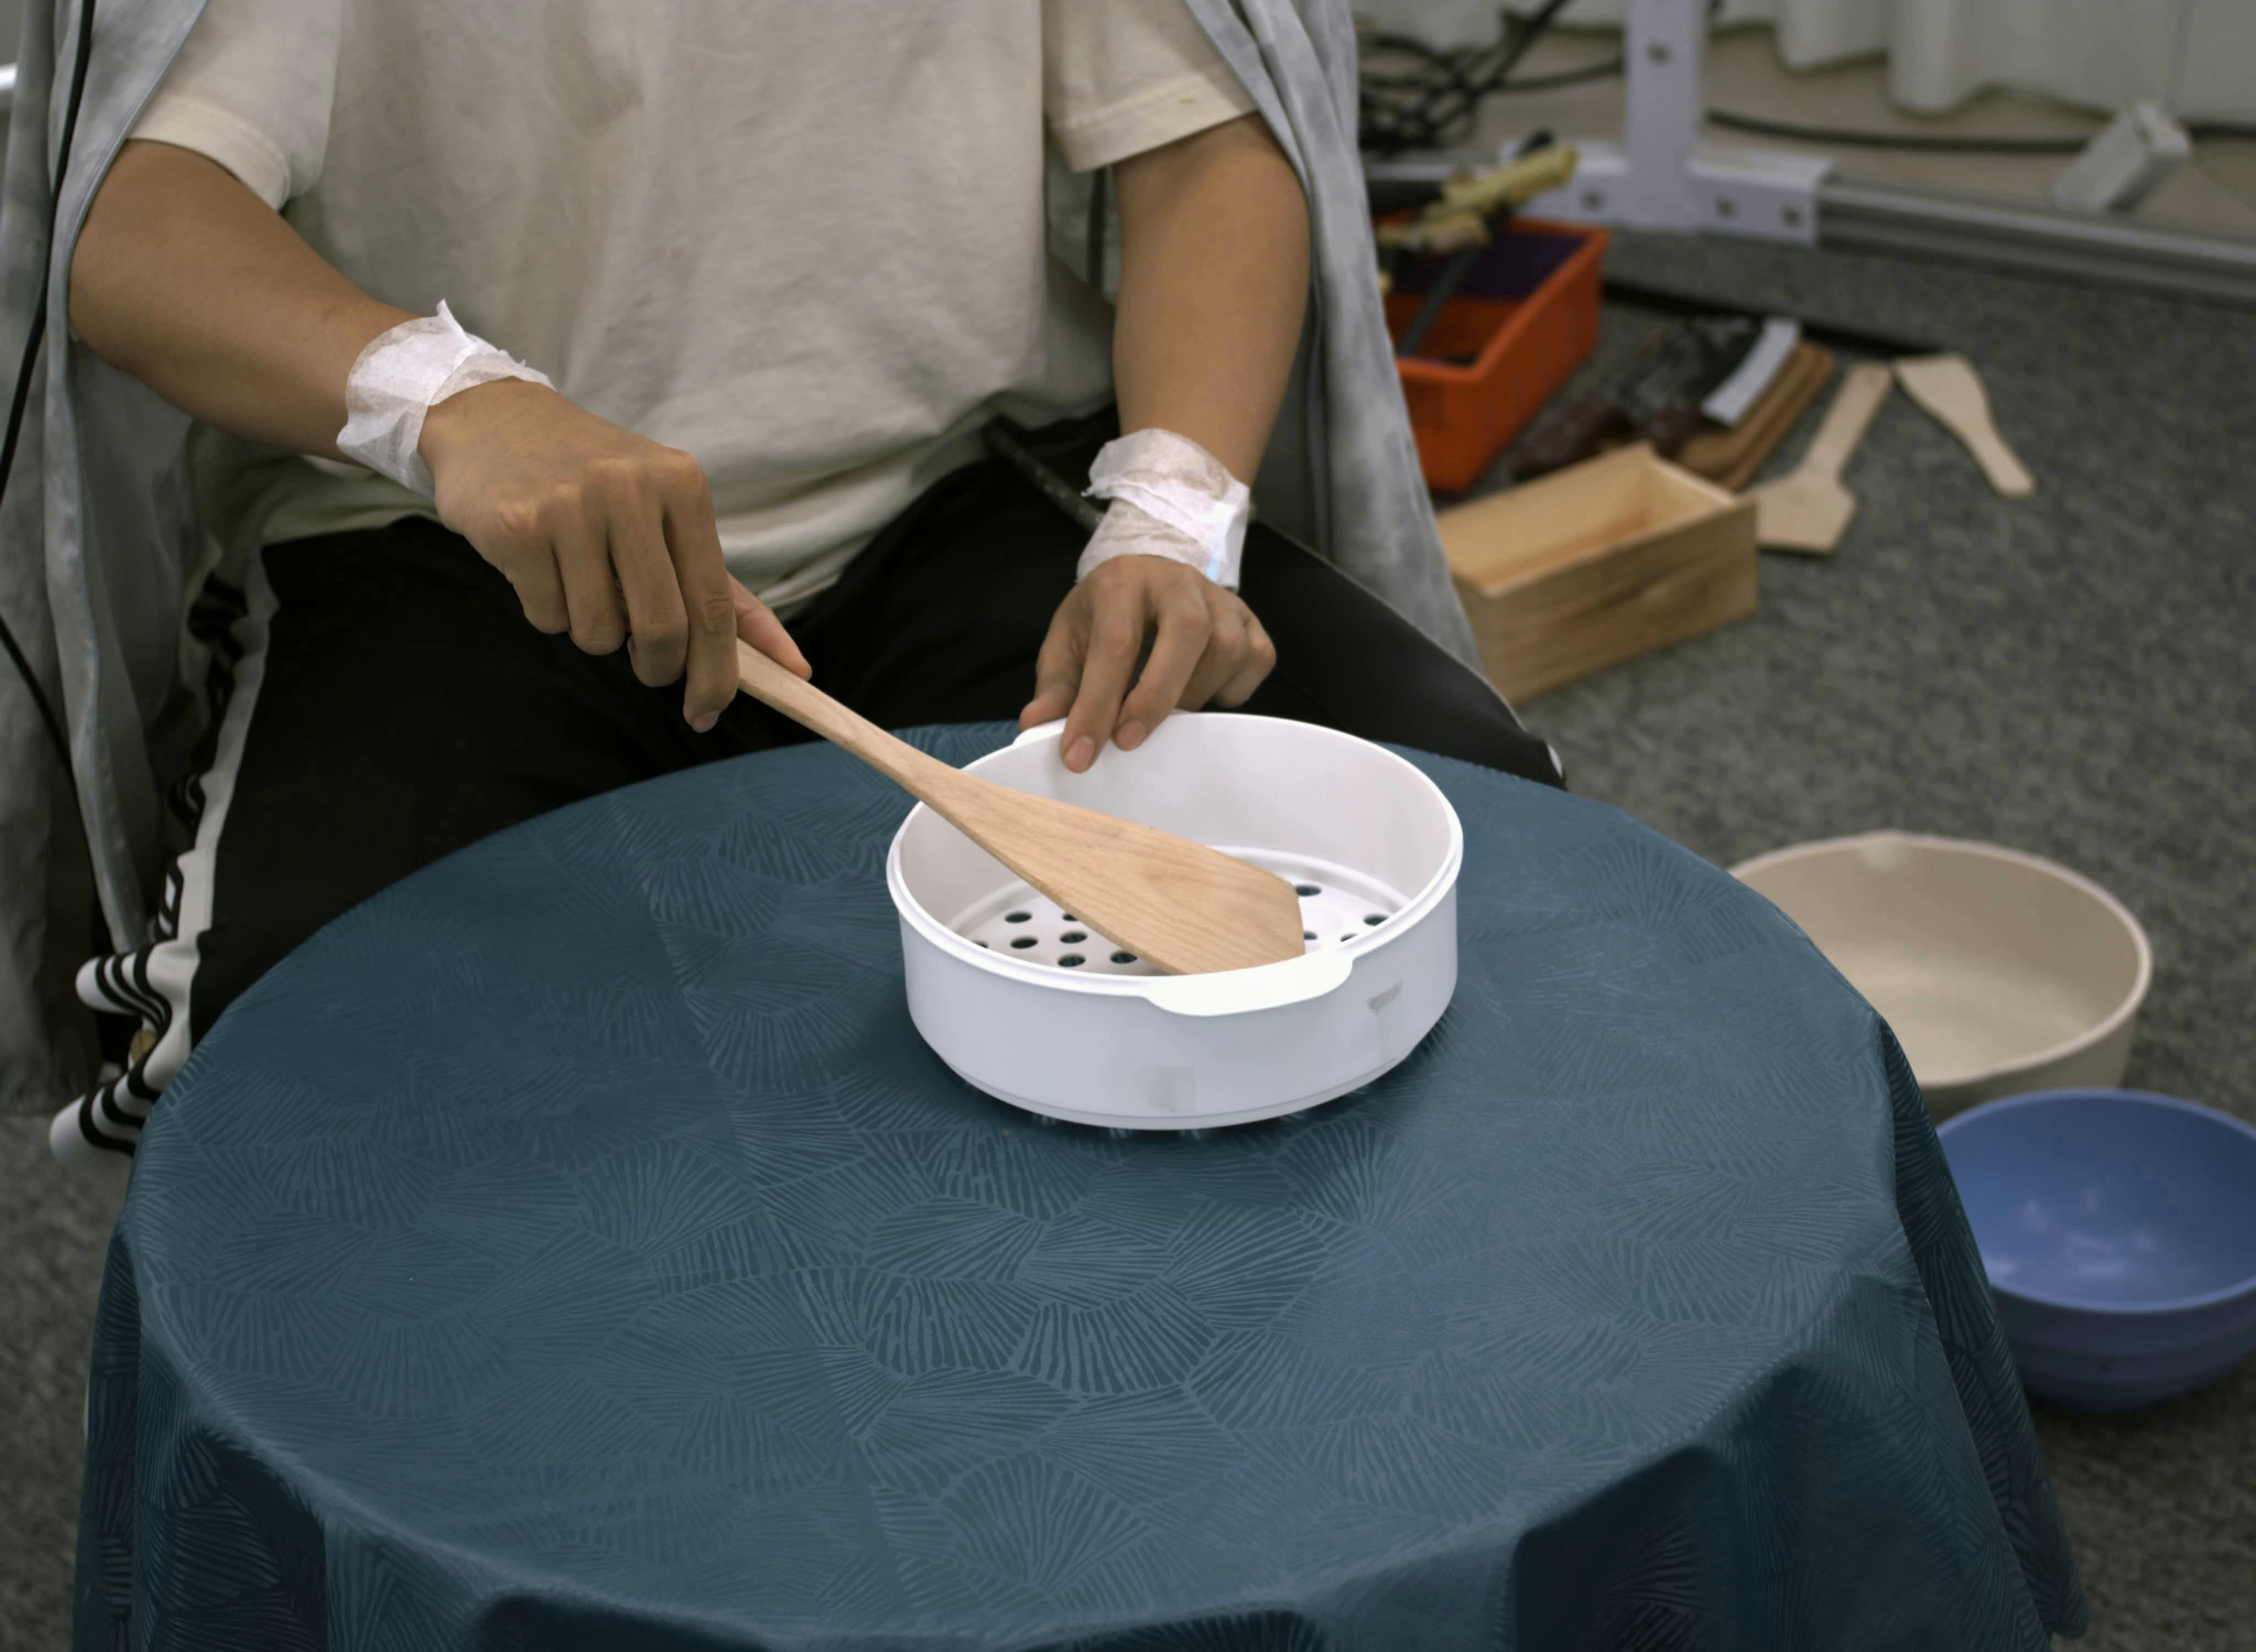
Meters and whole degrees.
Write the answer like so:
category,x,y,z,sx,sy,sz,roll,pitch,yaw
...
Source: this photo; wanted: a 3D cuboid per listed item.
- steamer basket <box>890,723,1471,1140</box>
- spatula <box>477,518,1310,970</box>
category,x,y,z,sx,sy,sz,roll,pitch,yaw
steamer basket,0.019,0.038,1.951,0.202,0.068,0.233,-8,26,-12
spatula,-0.077,-0.026,1.936,0.326,0.016,0.081,29,31,-9
